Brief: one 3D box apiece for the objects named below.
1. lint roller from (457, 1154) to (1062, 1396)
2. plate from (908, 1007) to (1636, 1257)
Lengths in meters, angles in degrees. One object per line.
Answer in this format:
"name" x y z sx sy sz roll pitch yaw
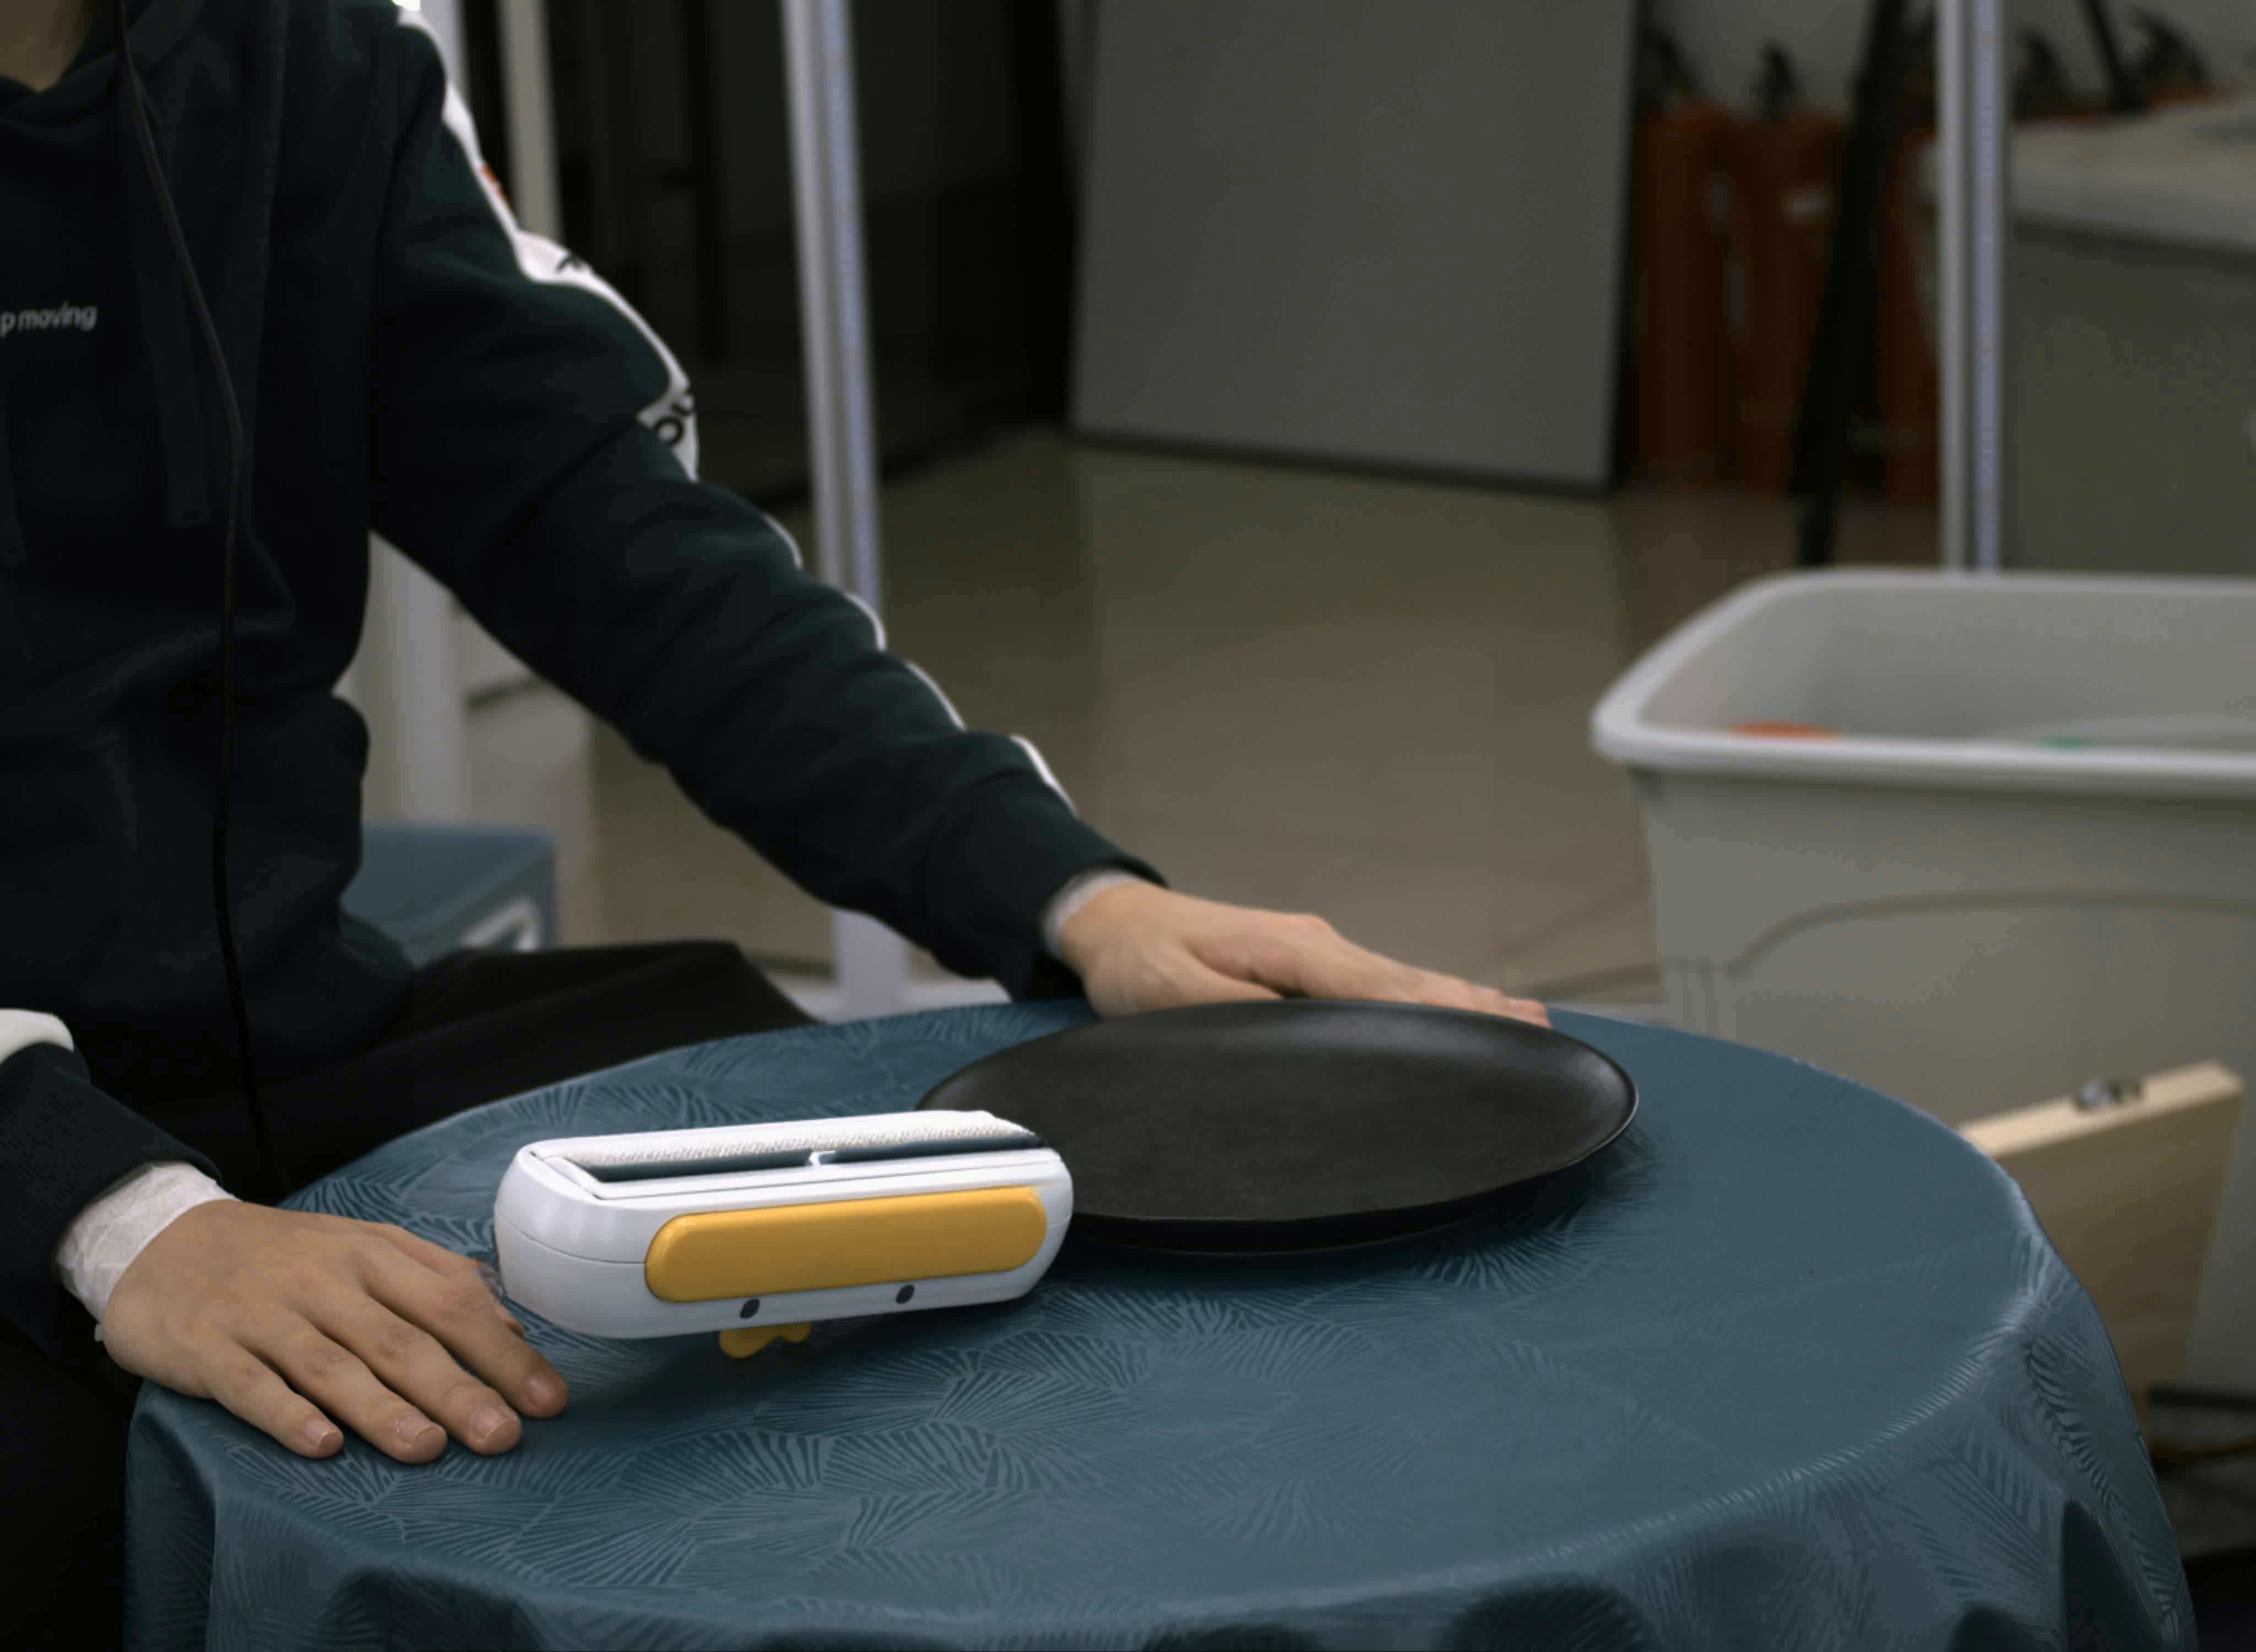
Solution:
"lint roller" -0.137 0.138 1.681 0.188 0.075 0.194 -4 -3 -31
"plate" 0.048 0.103 1.783 0.241 0.024 0.245 -4 14 0
